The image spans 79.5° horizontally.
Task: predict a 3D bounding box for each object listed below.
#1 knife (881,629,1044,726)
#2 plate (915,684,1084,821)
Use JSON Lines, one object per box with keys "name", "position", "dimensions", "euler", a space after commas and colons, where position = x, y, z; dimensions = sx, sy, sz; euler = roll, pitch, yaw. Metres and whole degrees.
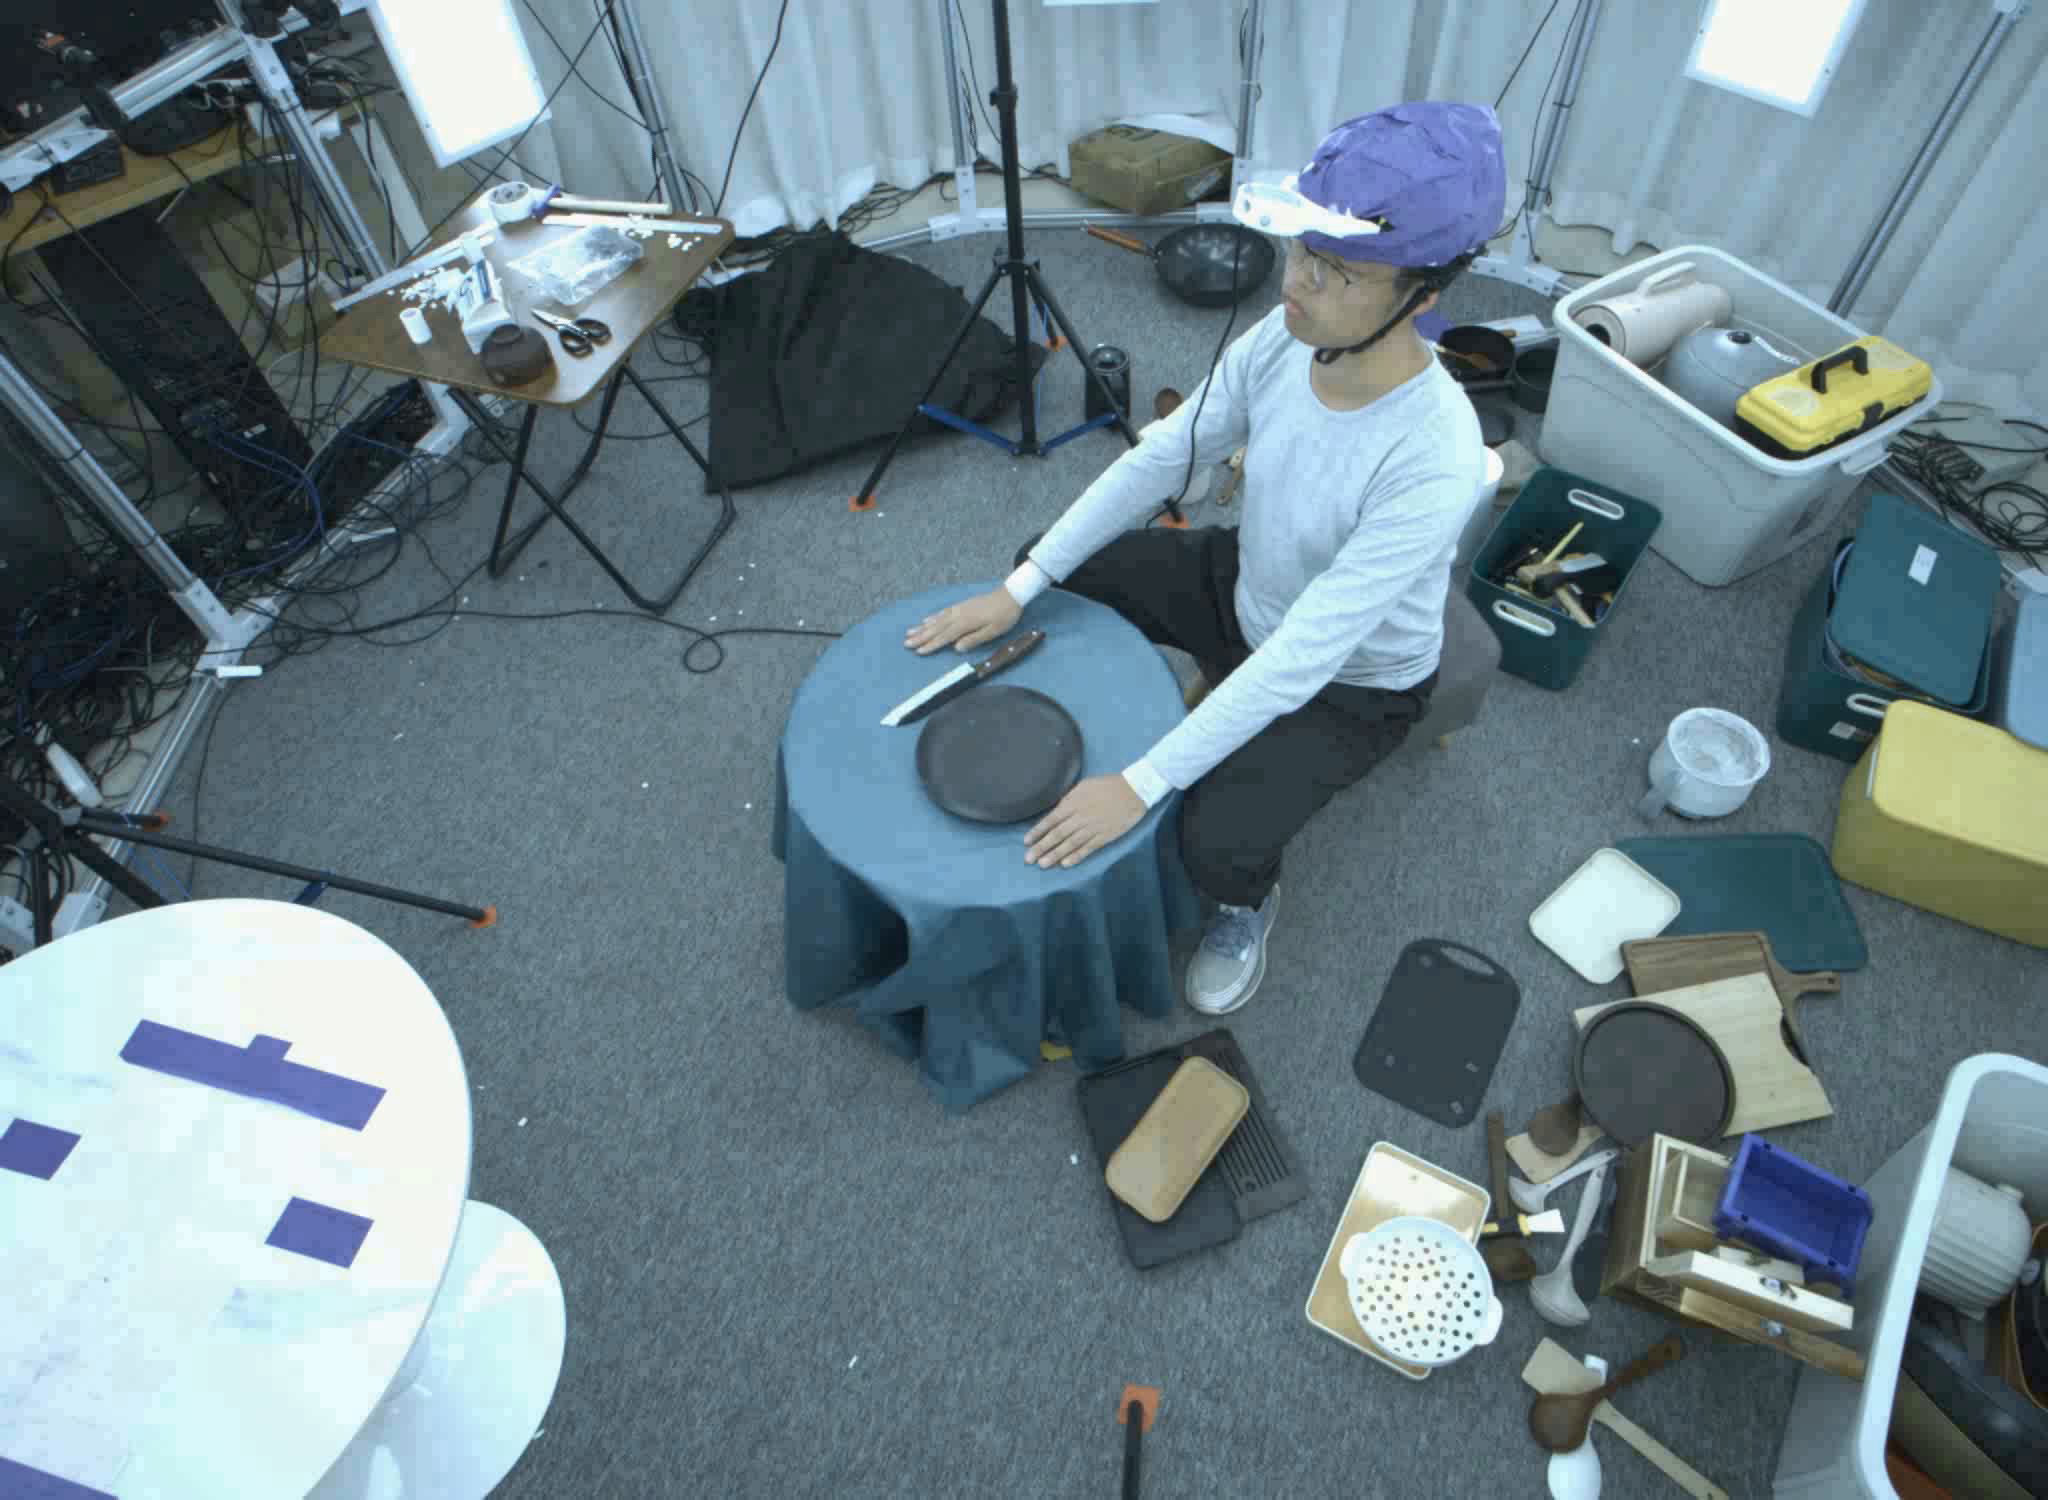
{"name": "knife", "position": [-0.092, -0.110, 1.867], "dimensions": [0.291, 0.020, 0.049], "euler": [-31, 54, -16]}
{"name": "plate", "position": [-0.036, 0.005, 1.778], "dimensions": [0.244, 0.023, 0.242], "euler": [0, 54, 1]}
